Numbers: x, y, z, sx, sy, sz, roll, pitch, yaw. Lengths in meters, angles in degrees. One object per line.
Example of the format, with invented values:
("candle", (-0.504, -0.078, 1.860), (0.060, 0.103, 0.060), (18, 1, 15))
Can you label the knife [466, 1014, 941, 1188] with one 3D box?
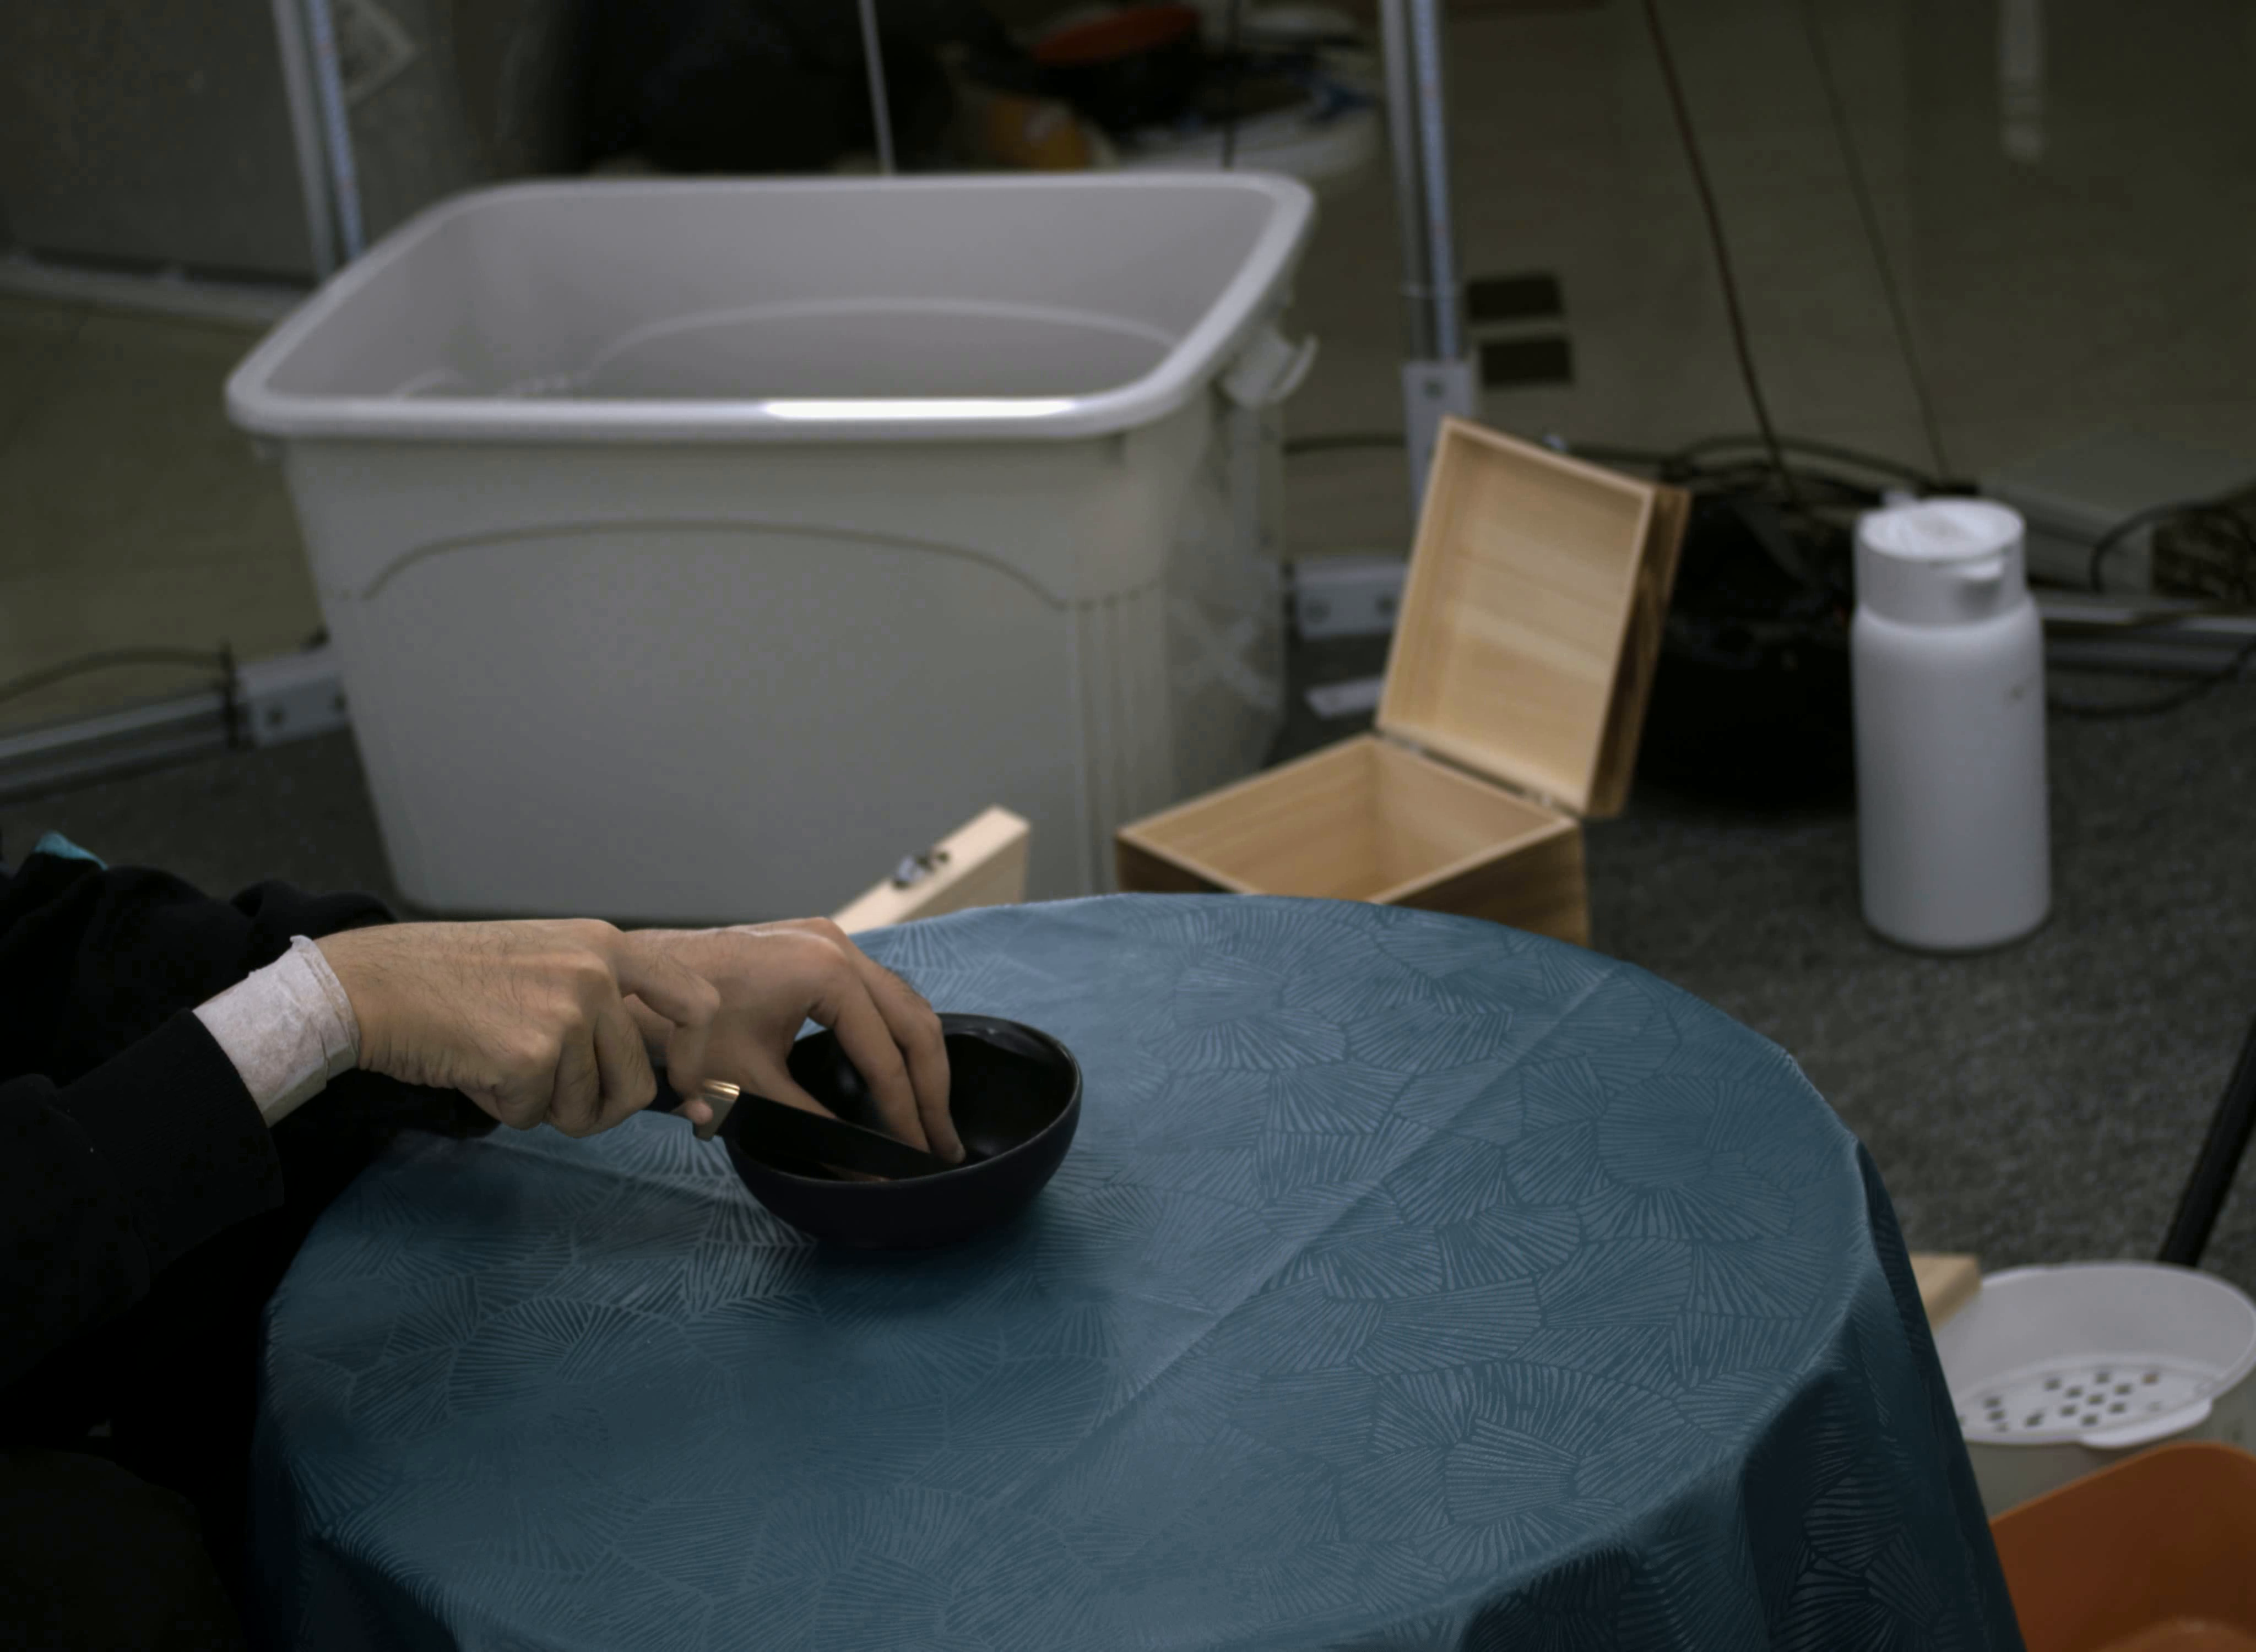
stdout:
("knife", (-0.147, 0.107, 2.096), (0.226, 0.026, 0.017), (20, 23, -30))

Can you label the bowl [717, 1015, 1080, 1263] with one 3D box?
("bowl", (-0.083, 0.126, 2.143), (0.140, 0.050, 0.138), (-9, 26, 5))
